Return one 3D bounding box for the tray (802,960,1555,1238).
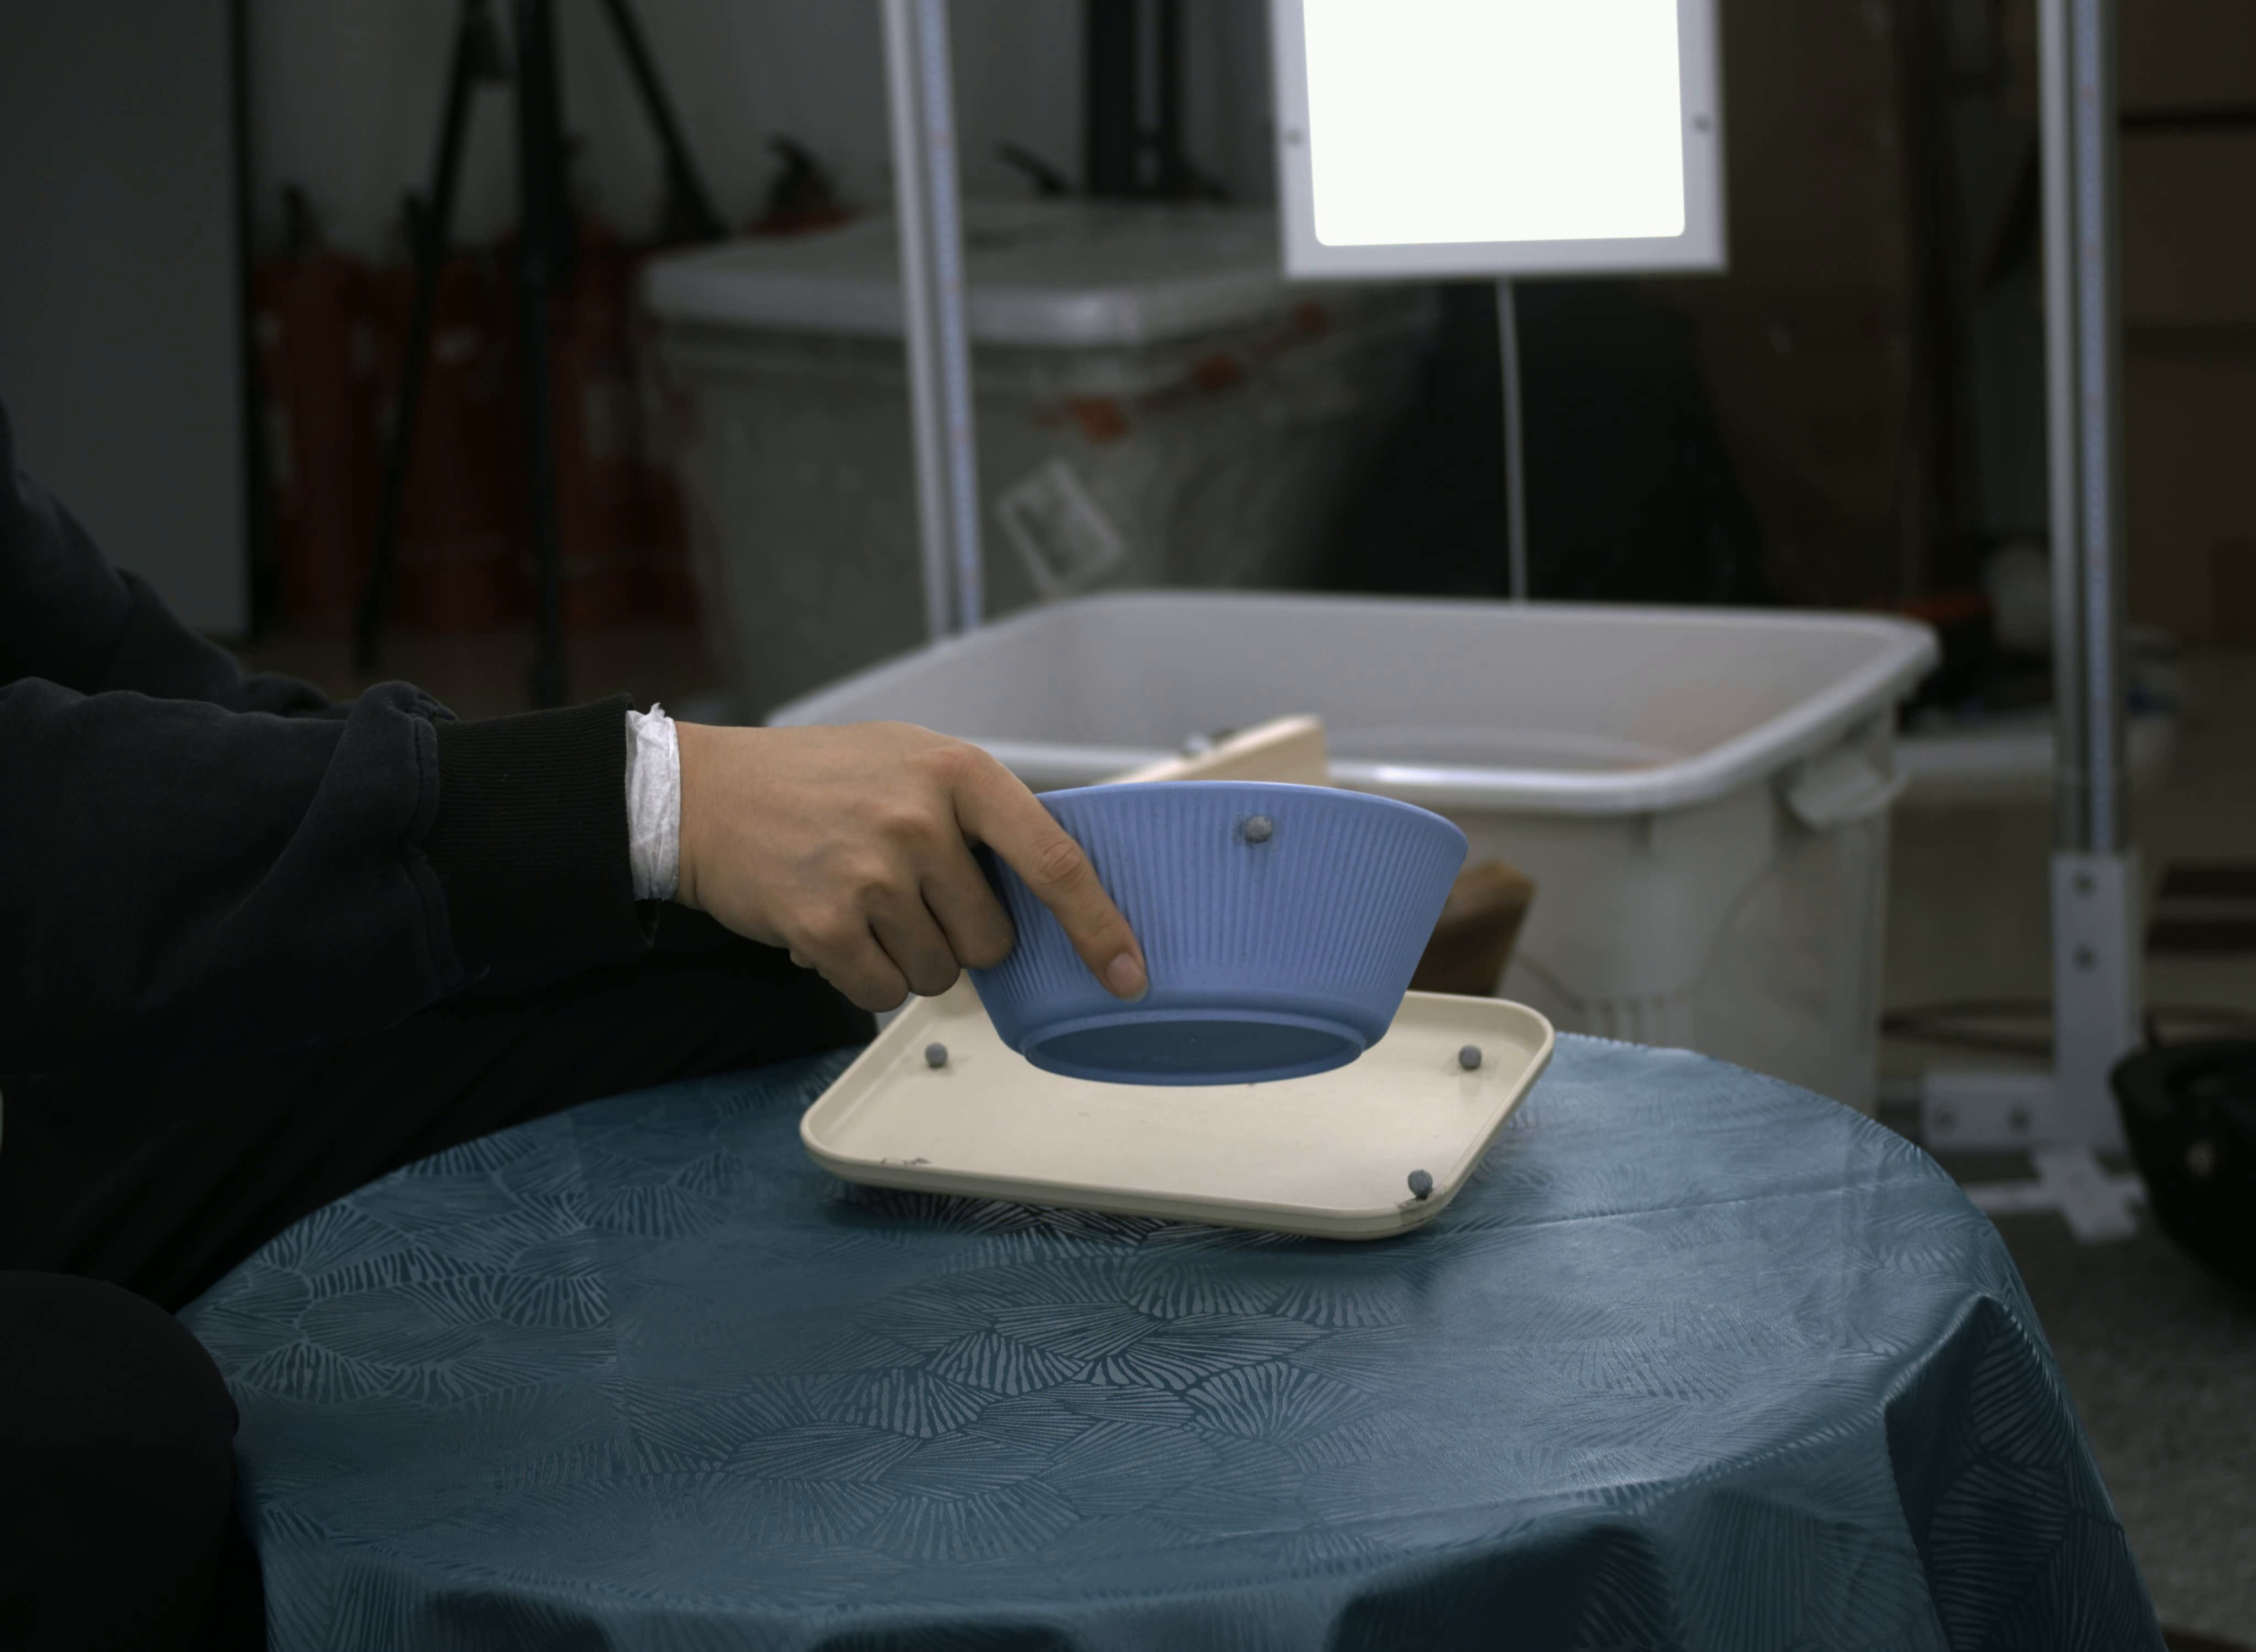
[{"bbox_3d":[0.019,0.094,1.921,0.243,0.017,0.168,5,25,23],"label":"tray"}]

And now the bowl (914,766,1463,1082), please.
[{"bbox_3d":[0.019,0.036,1.739,0.175,0.070,0.176,1,-14,-1],"label":"bowl"}]
